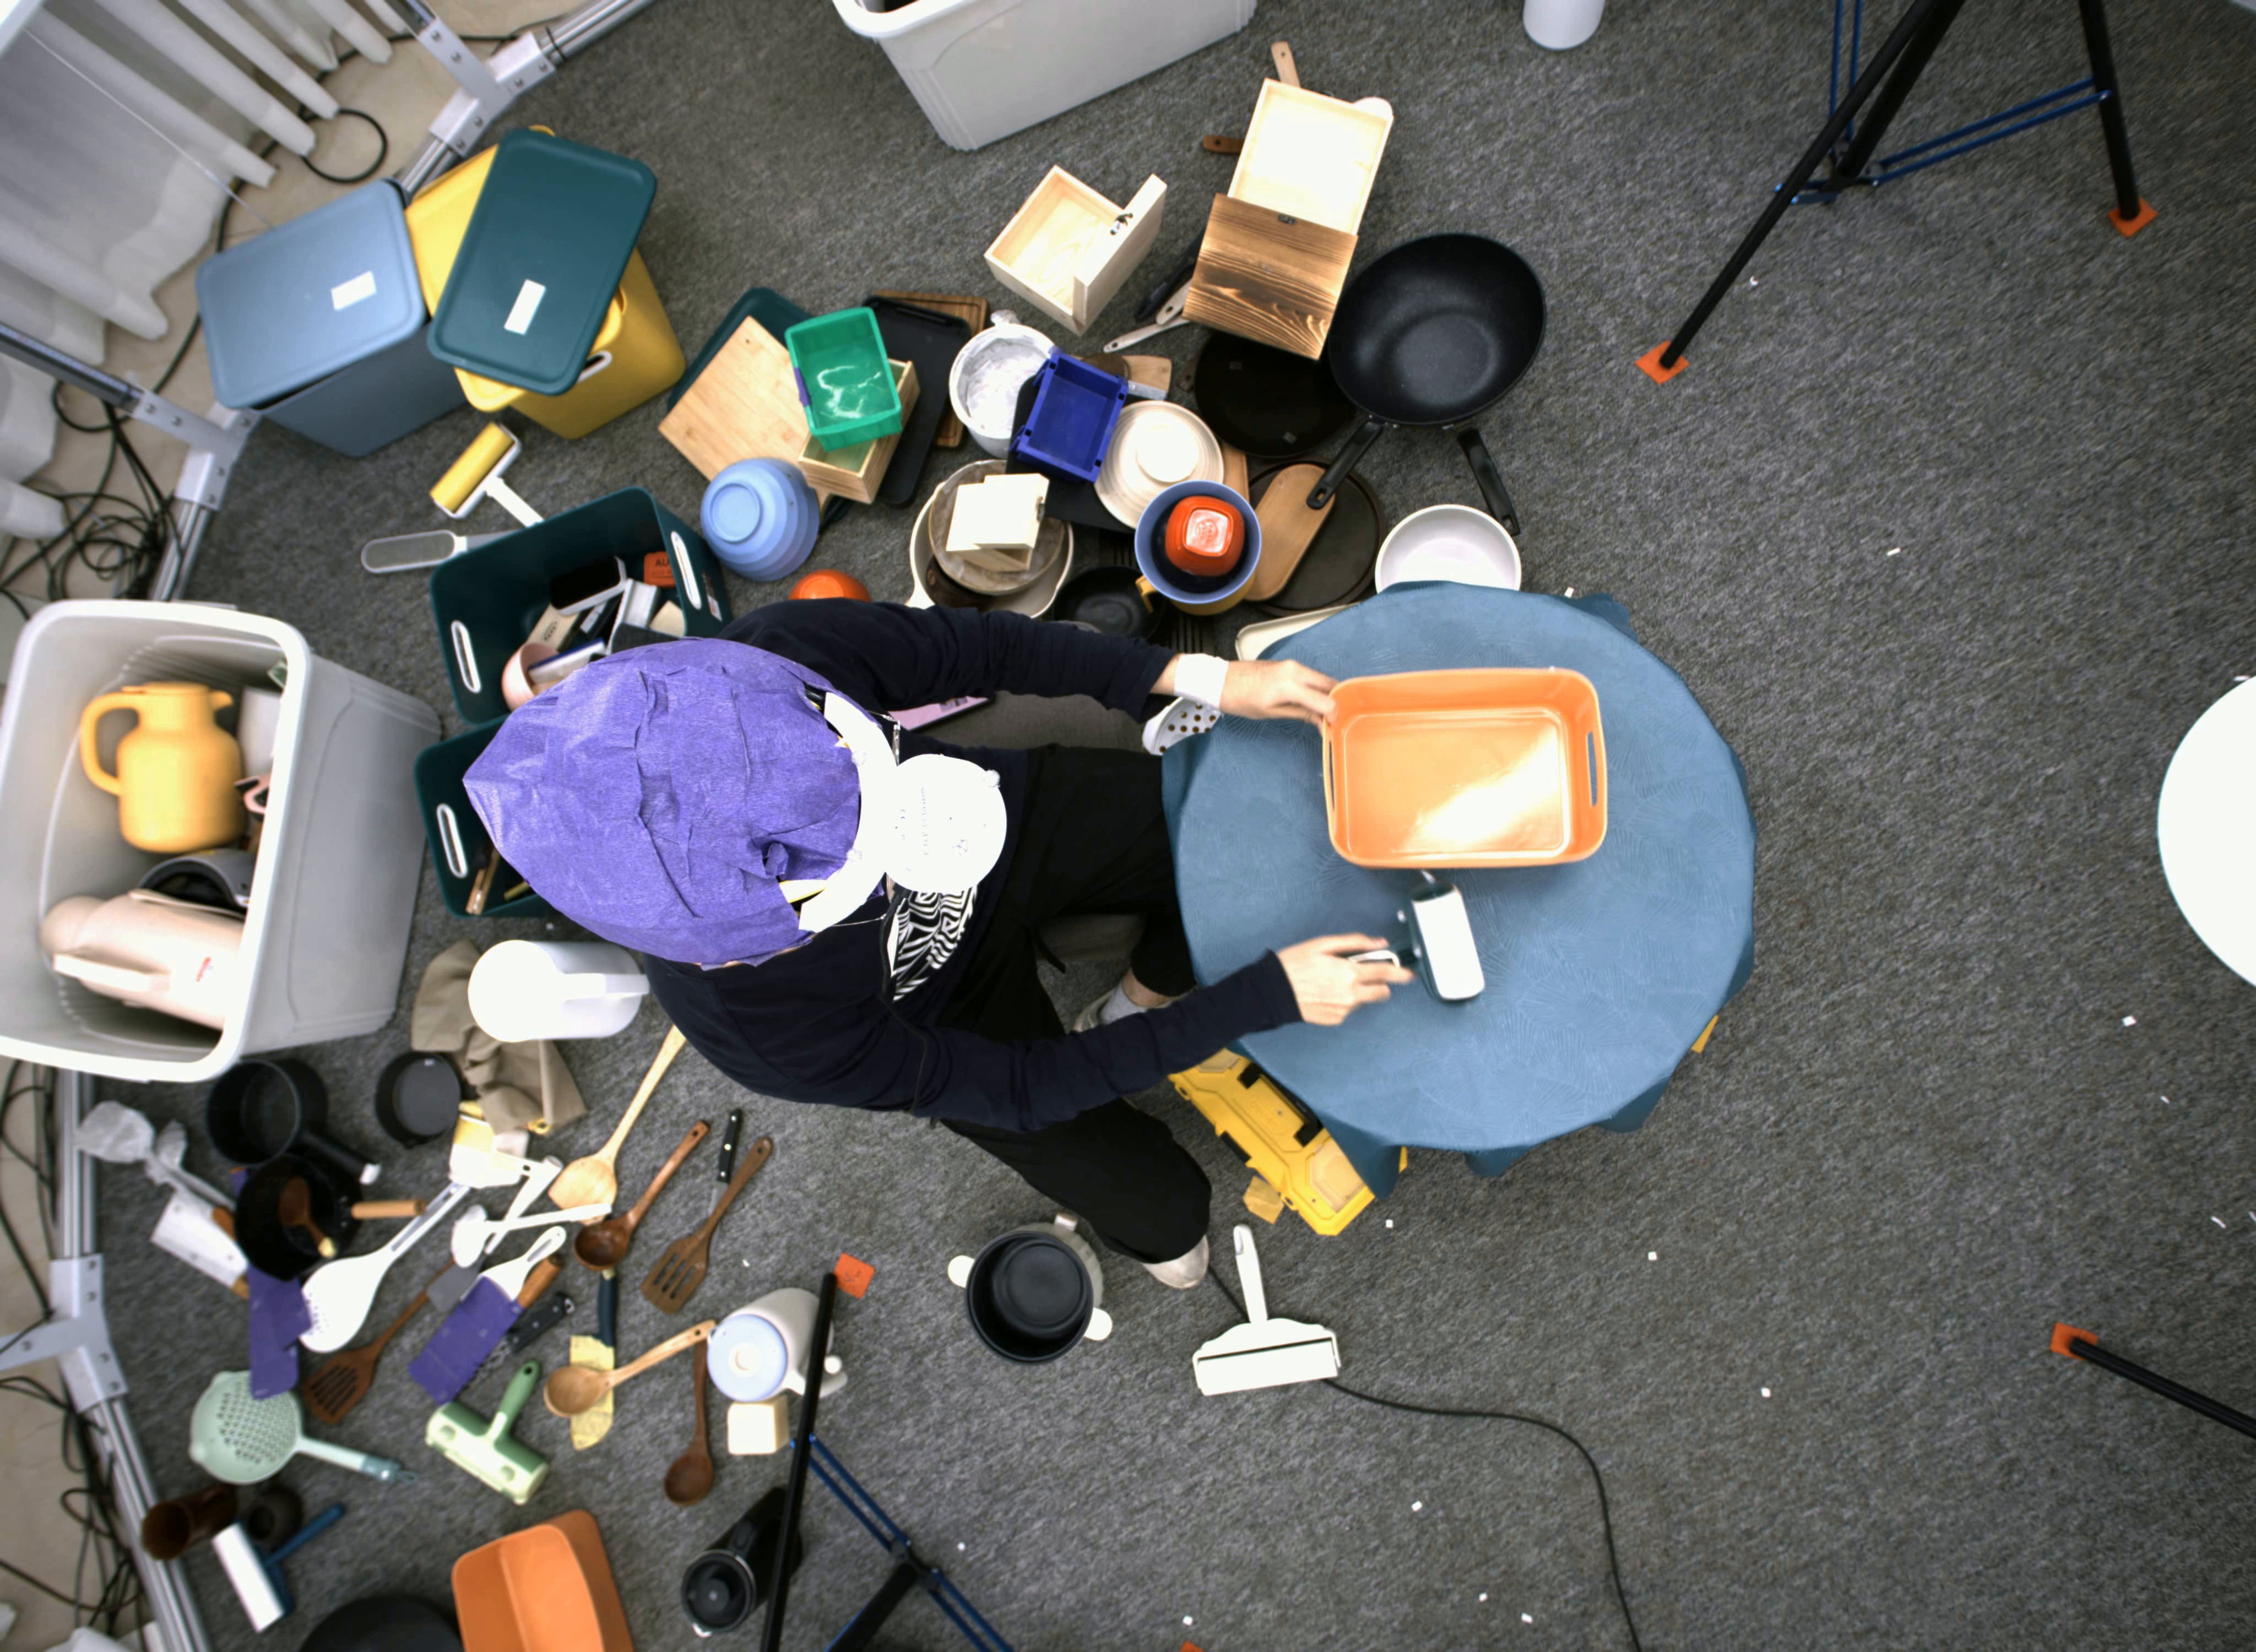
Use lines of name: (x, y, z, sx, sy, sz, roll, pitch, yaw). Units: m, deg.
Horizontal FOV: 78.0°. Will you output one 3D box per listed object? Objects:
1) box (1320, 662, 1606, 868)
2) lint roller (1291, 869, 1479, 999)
box: (0.334, -0.055, 1.391, 0.274, 0.103, 0.197, -3, 78, 10)
lint roller: (0.249, 0.128, 1.369, 0.180, 0.048, 0.135, -21, 104, 2)
